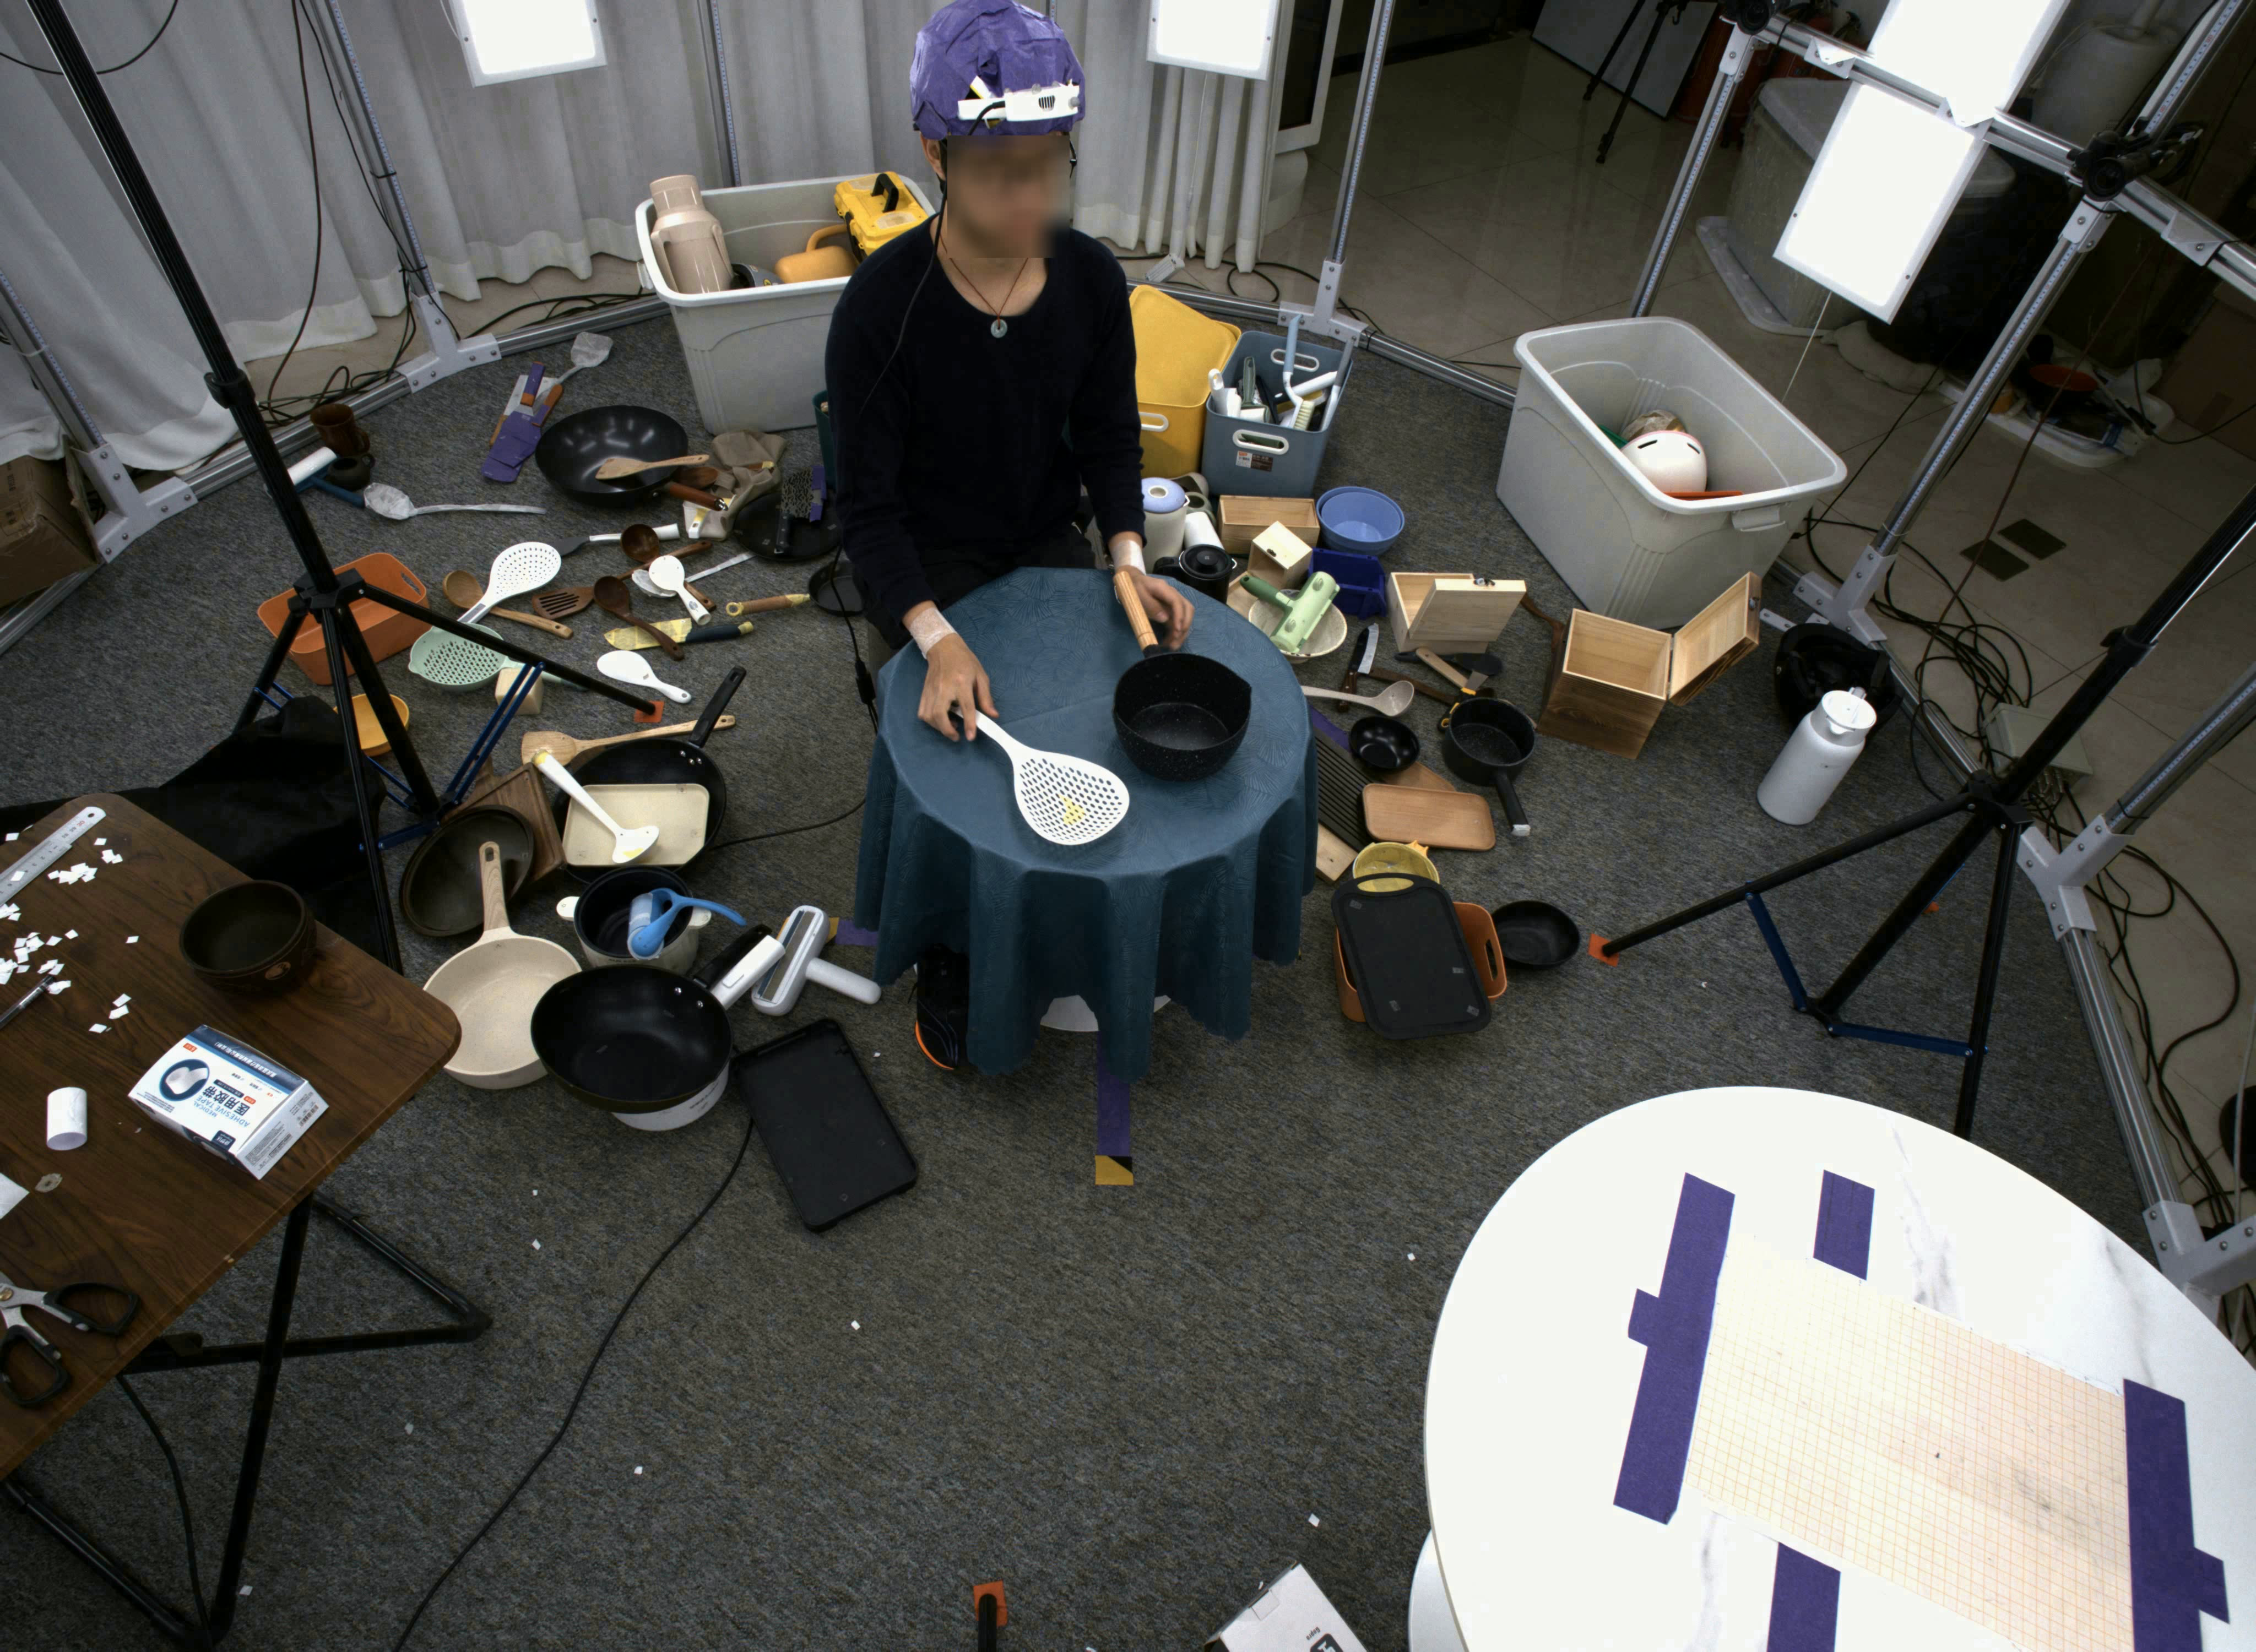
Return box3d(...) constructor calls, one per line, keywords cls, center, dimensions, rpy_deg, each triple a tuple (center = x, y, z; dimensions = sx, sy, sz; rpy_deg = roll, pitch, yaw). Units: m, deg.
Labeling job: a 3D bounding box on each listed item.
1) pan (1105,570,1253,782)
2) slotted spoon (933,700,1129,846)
box3d(cls="pan", center=(0.043, -0.209, 1.783), dimensions=(0.207, 0.105, 0.351), rpy_deg=(-15, 53, -15))
box3d(cls="slotted spoon", center=(-0.143, -0.087, 1.706), dimensions=(0.138, 0.049, 0.353), rpy_deg=(-37, 62, -23))
